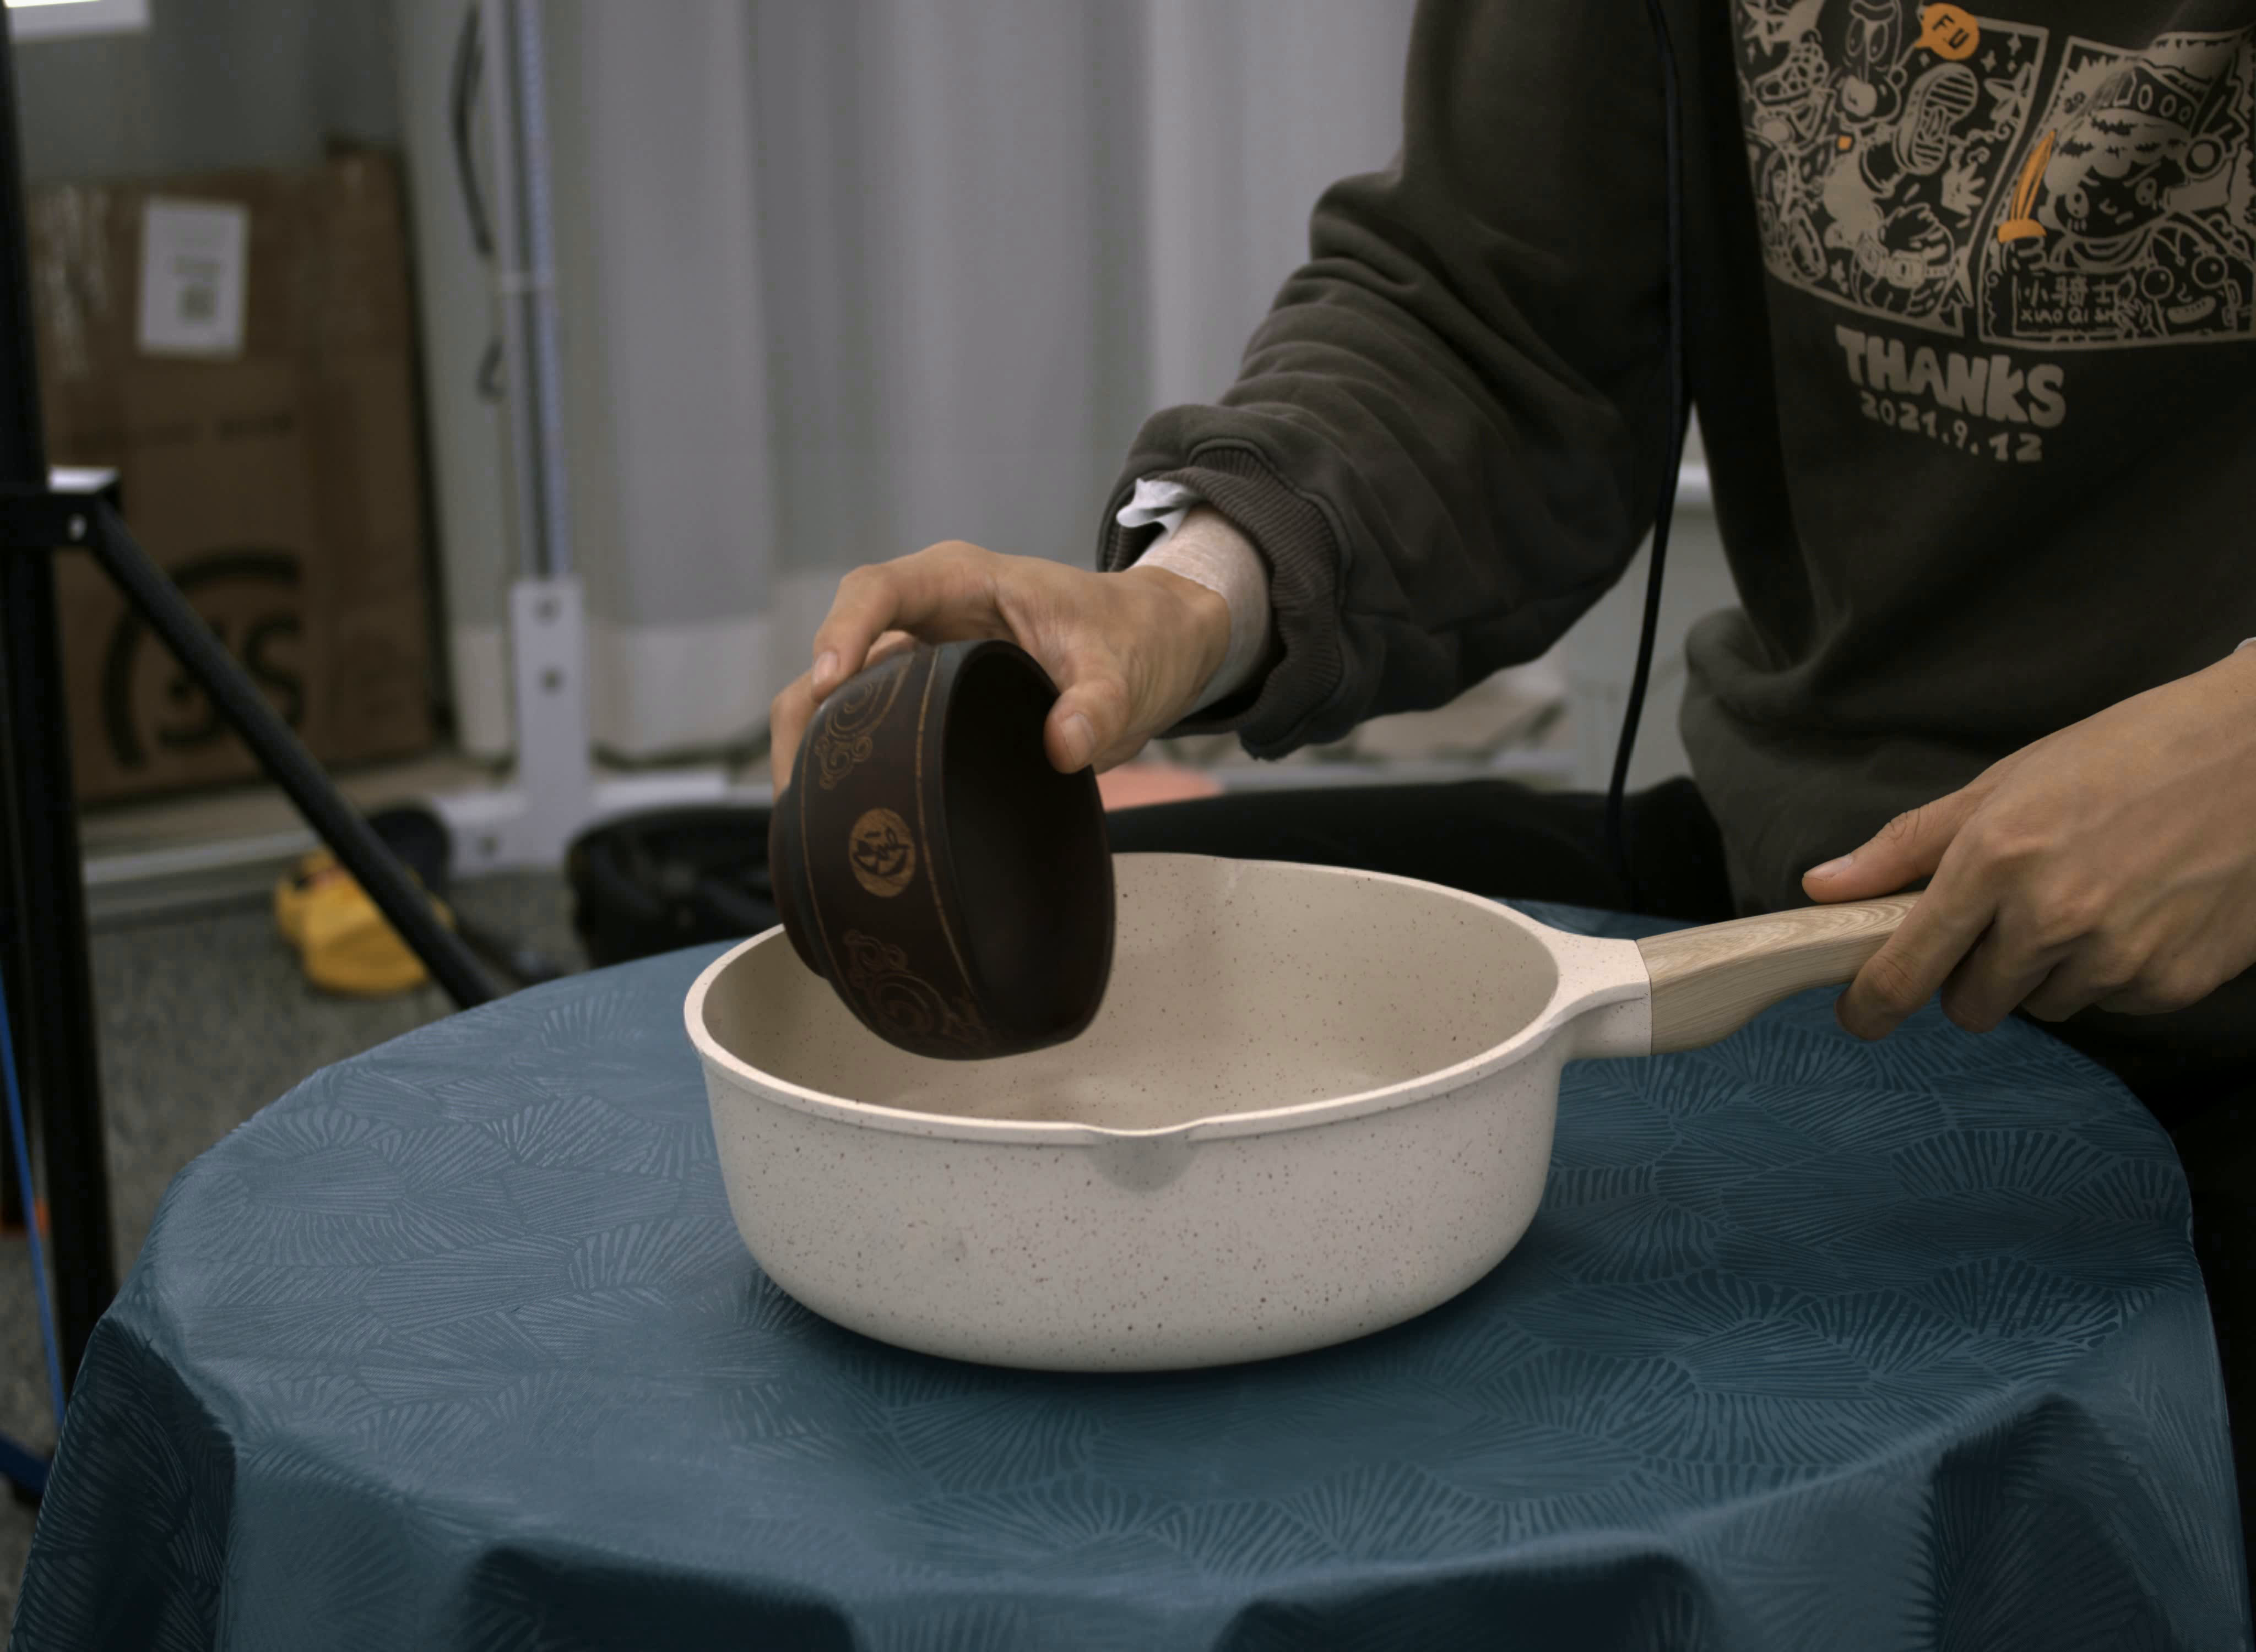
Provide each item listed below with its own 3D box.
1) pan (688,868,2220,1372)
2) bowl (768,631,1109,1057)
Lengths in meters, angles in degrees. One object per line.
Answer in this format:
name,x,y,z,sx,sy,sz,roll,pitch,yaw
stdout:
pan,0.094,0.073,1.492,0.433,0.102,0.264,-2,14,0
bowl,-0.058,0.008,1.497,0.070,0.118,0.117,-10,12,21
